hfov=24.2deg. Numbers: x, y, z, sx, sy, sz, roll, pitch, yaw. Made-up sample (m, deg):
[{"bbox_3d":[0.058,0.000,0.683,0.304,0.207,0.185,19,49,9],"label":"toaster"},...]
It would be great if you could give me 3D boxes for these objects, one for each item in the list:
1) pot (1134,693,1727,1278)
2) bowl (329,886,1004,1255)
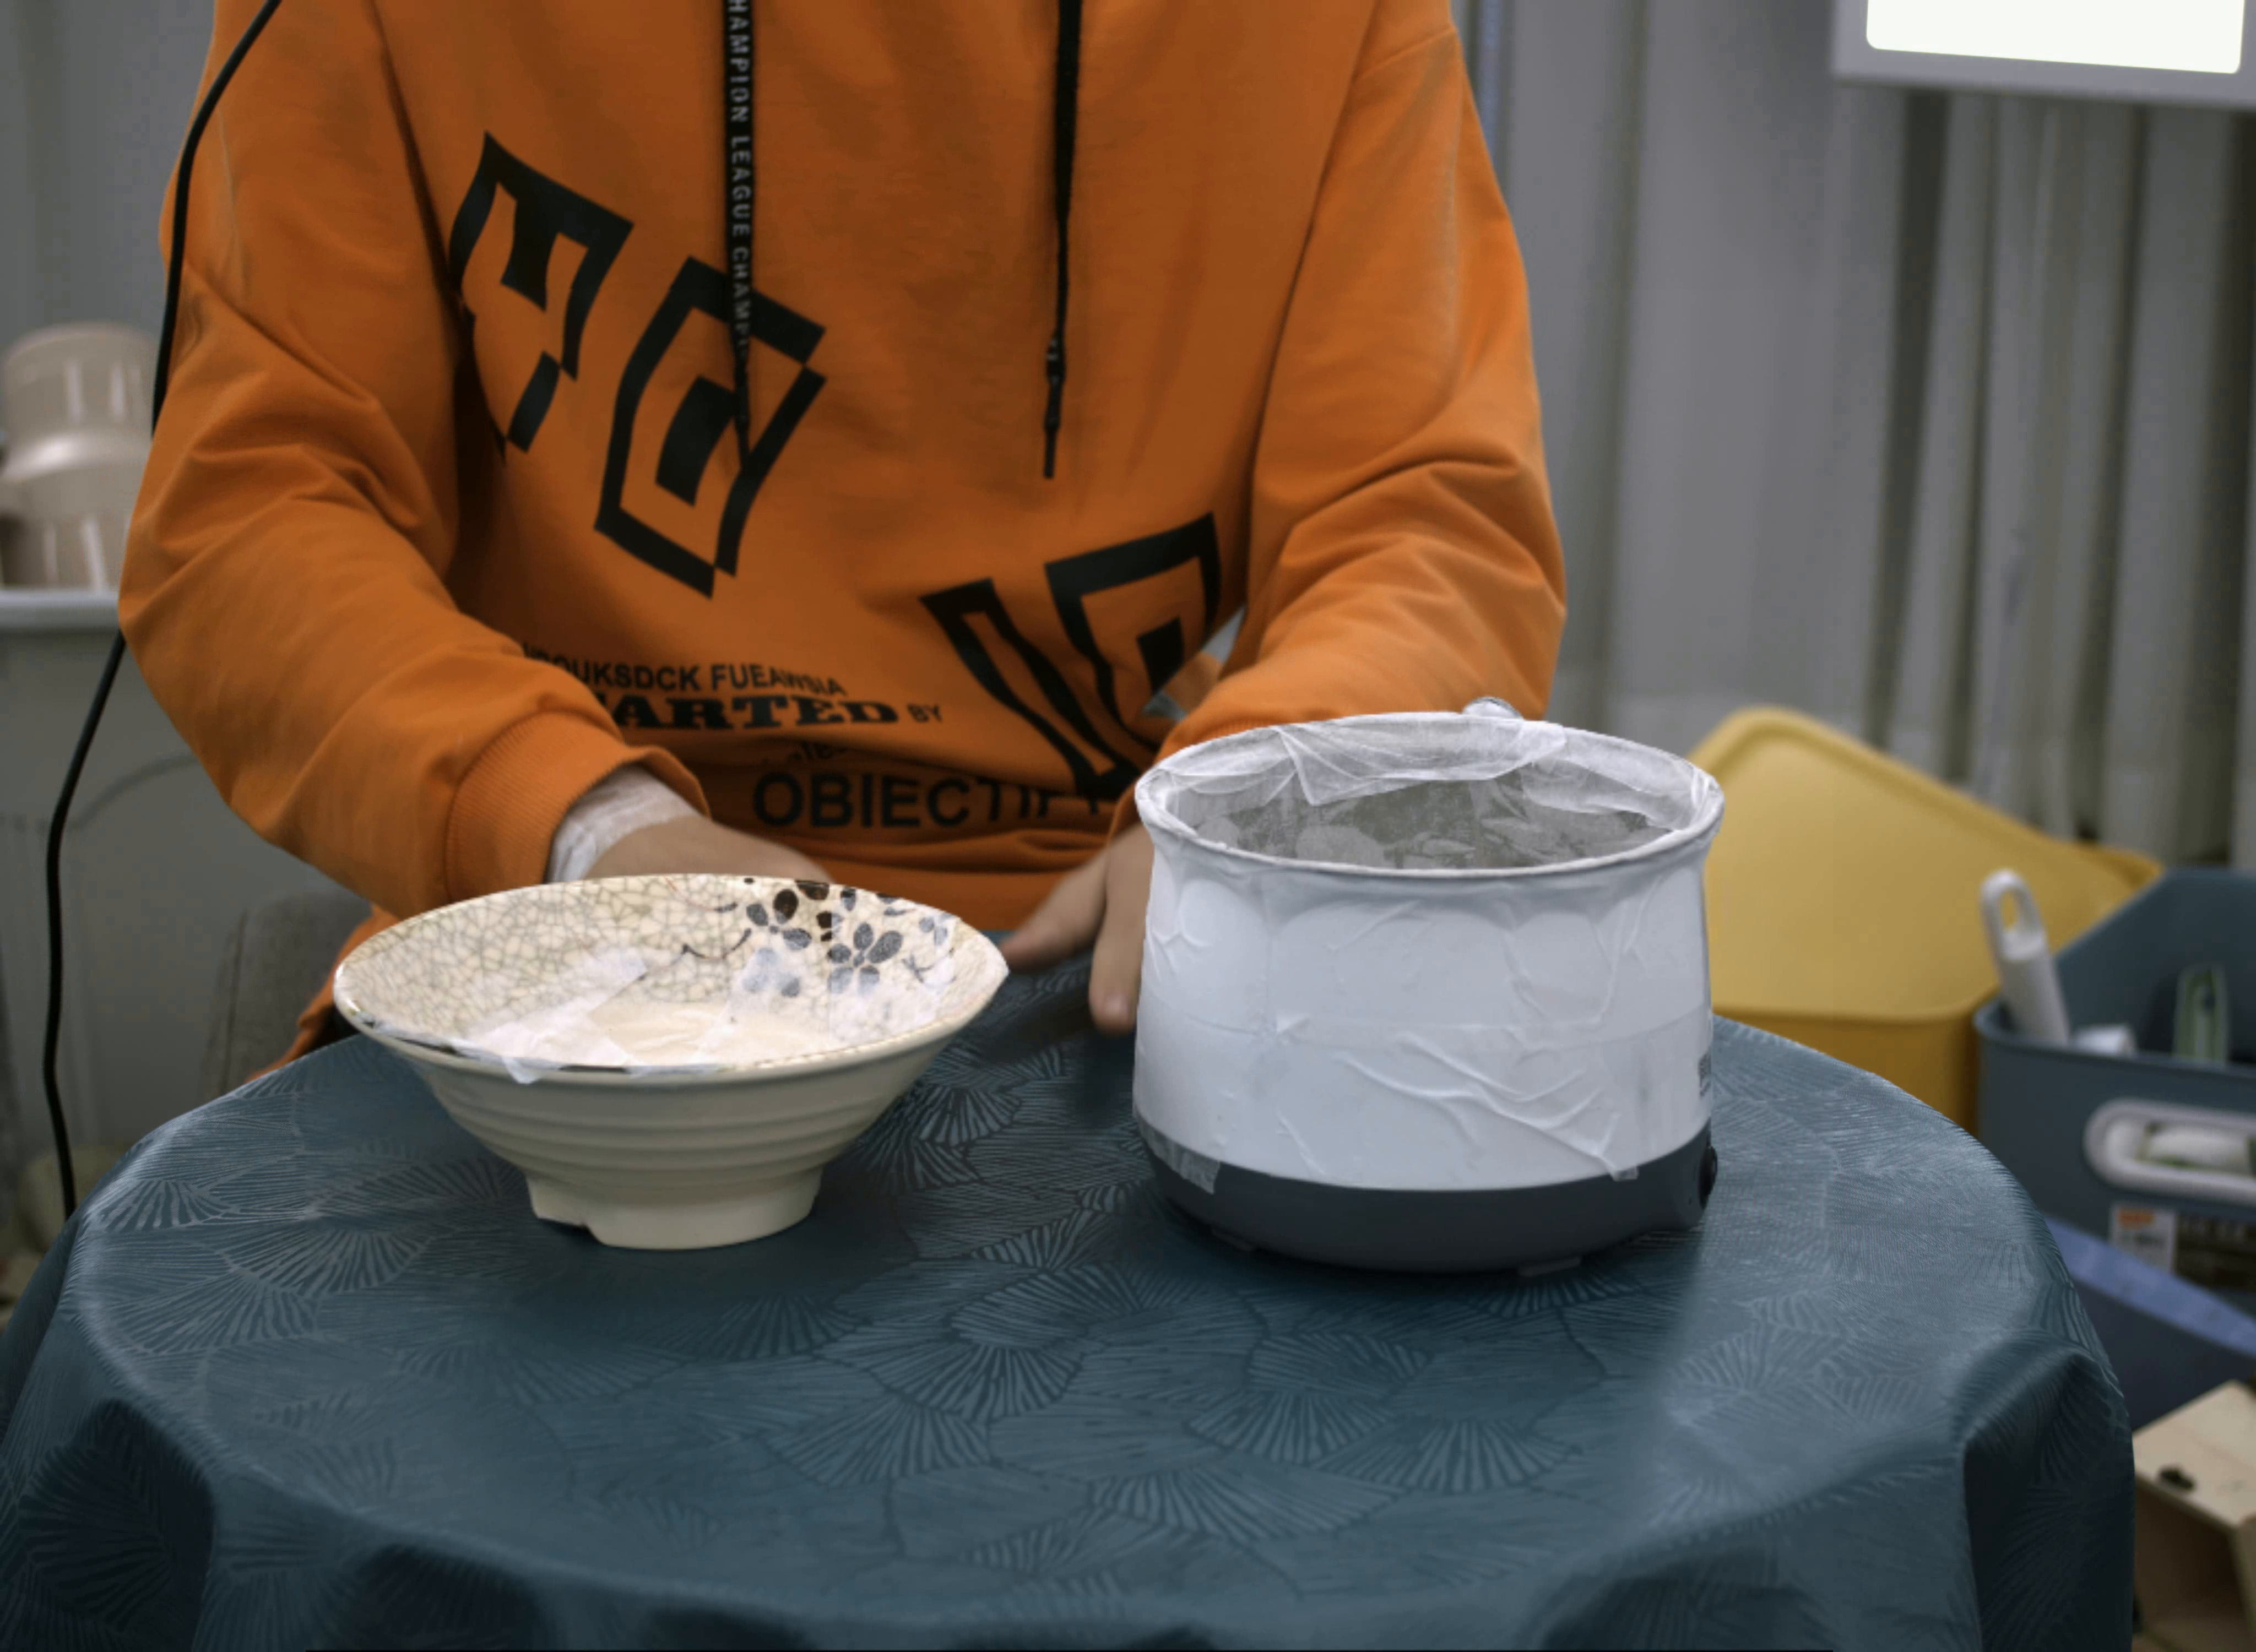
[{"bbox_3d":[0.096,0.043,1.618,0.177,0.138,0.233,4,17,11],"label":"pot"},{"bbox_3d":[-0.138,0.080,1.596,0.203,0.078,0.203,0,14,1],"label":"bowl"}]
